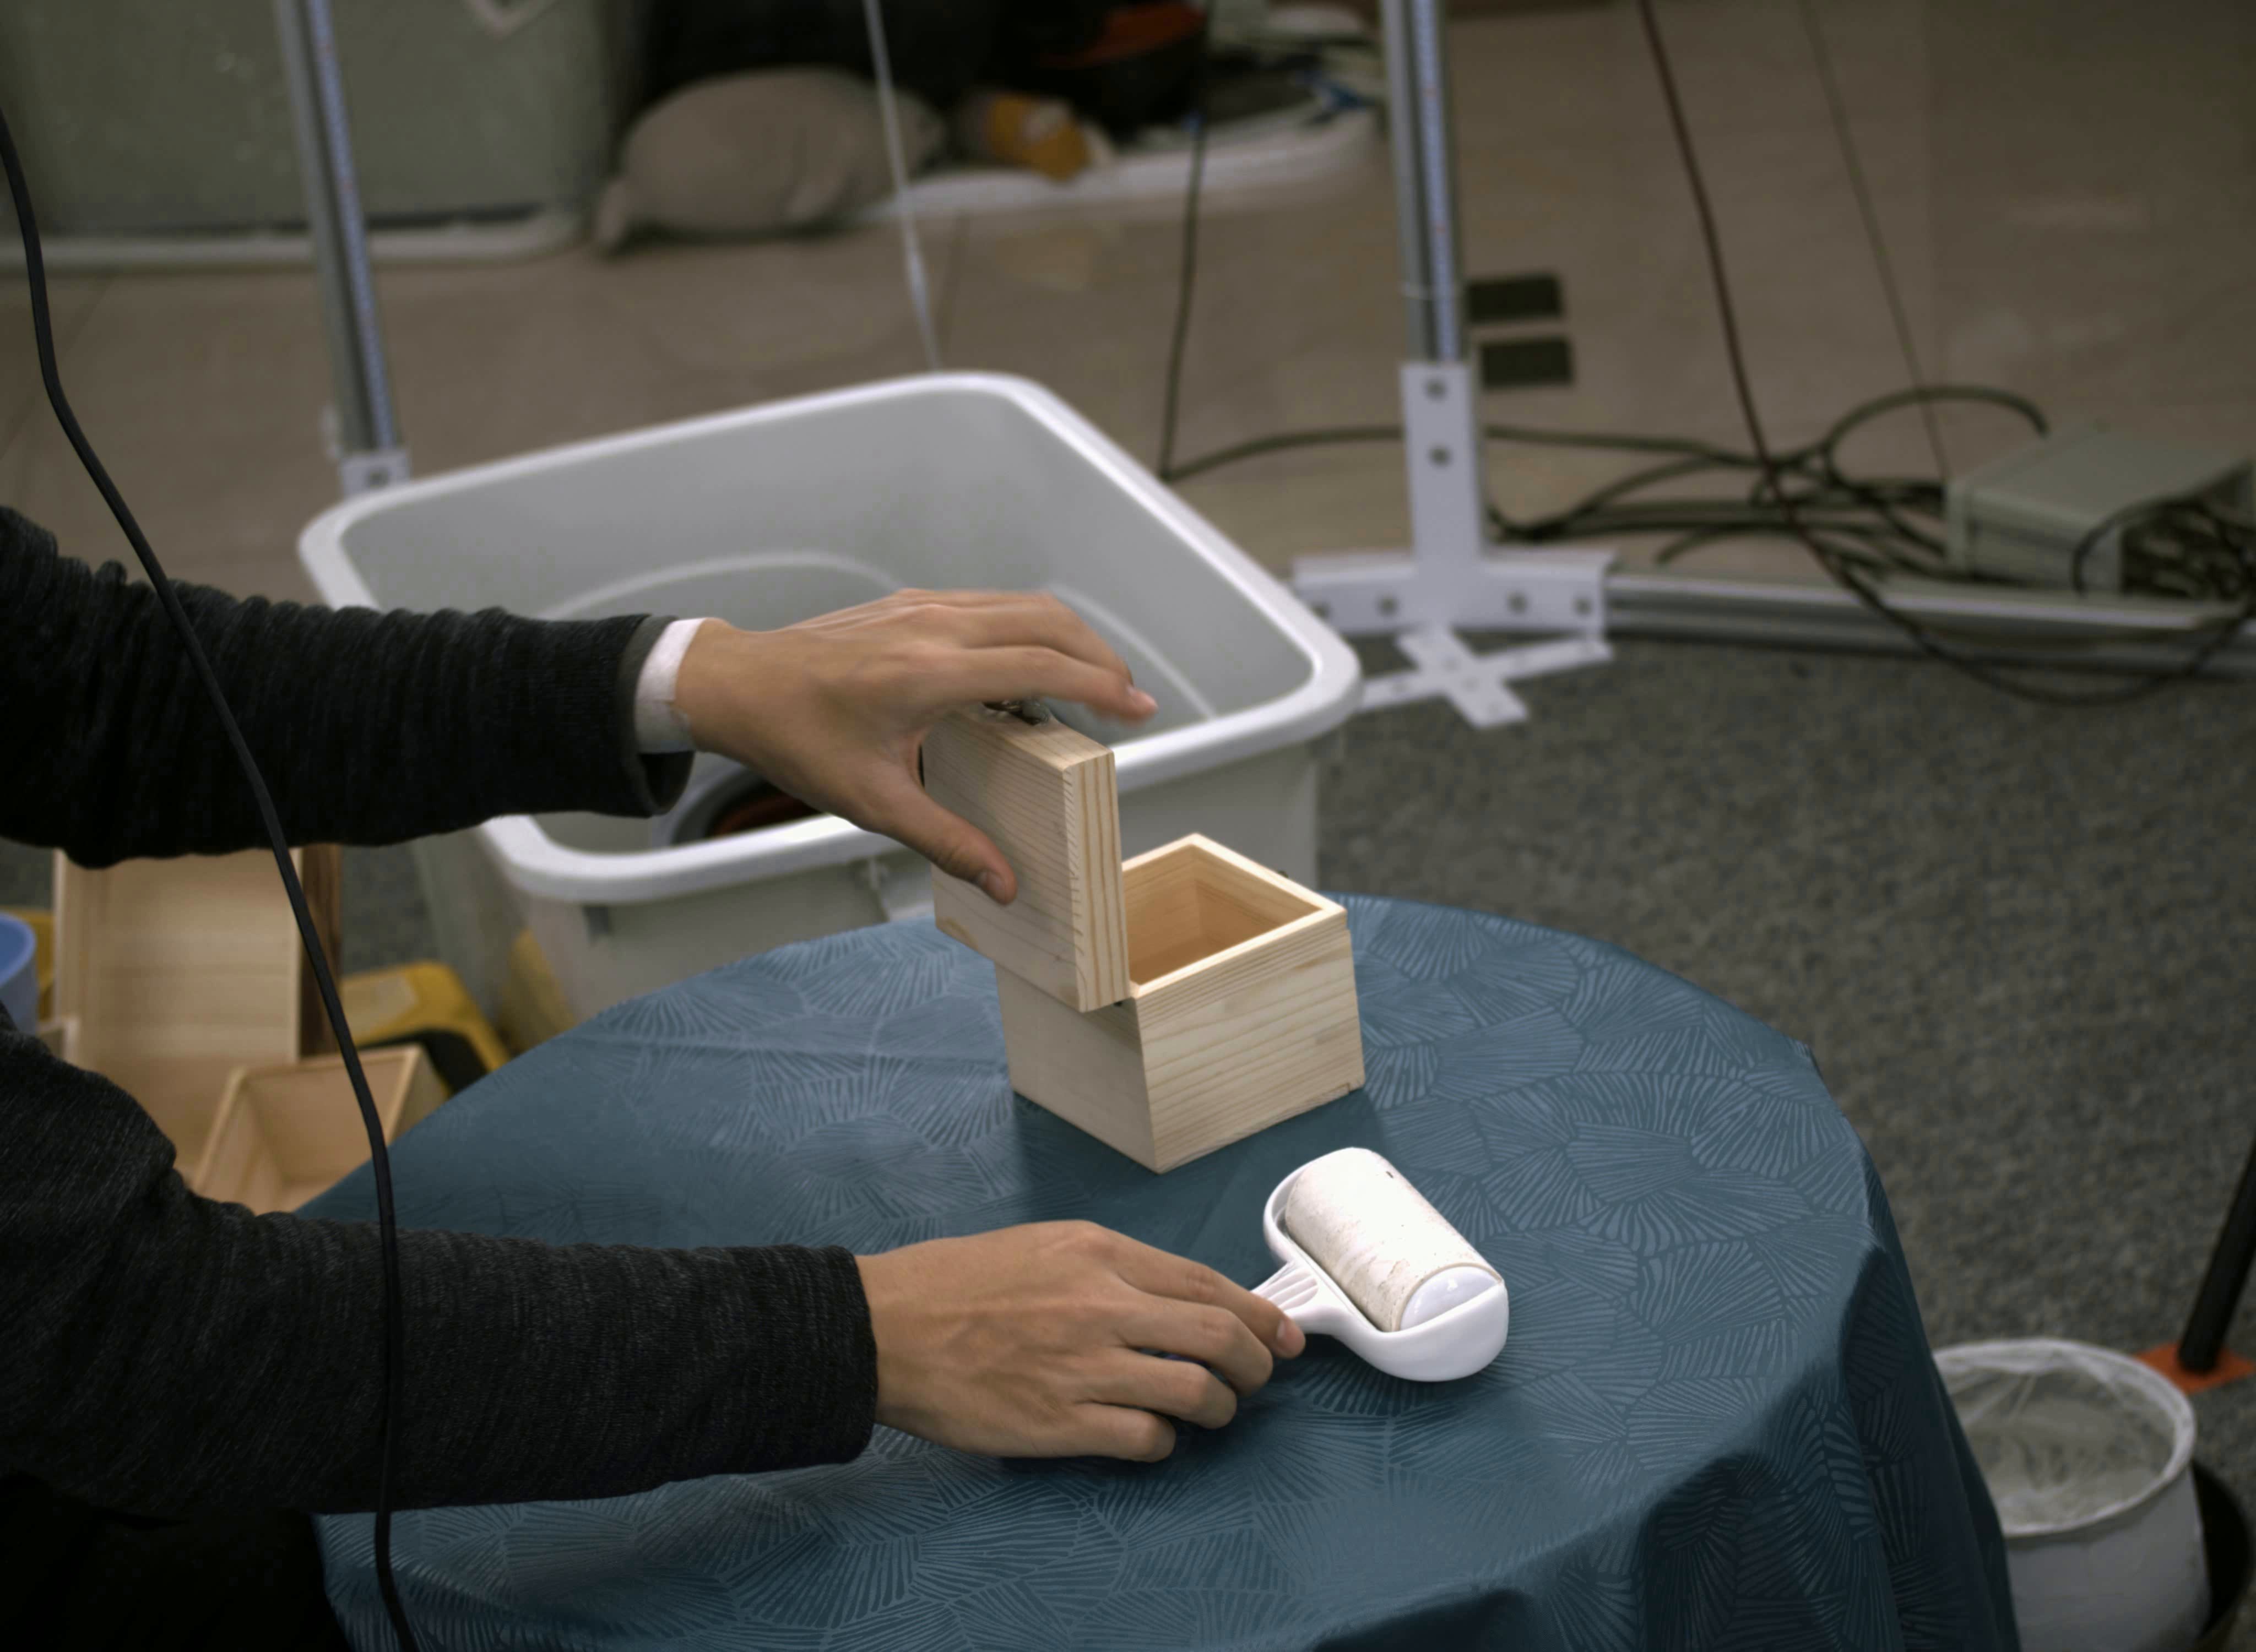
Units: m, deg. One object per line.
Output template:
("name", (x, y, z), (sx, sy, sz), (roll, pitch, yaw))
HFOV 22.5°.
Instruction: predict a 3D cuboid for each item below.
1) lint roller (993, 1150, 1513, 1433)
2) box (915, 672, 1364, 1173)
("lint roller", (0.035, 0.171, 2.014), (0.180, 0.051, 0.131), (-12, 27, -16))
("box", (0.006, 0.023, 2.174), (0.133, 0.187, 0.101), (-22, 30, -28))
